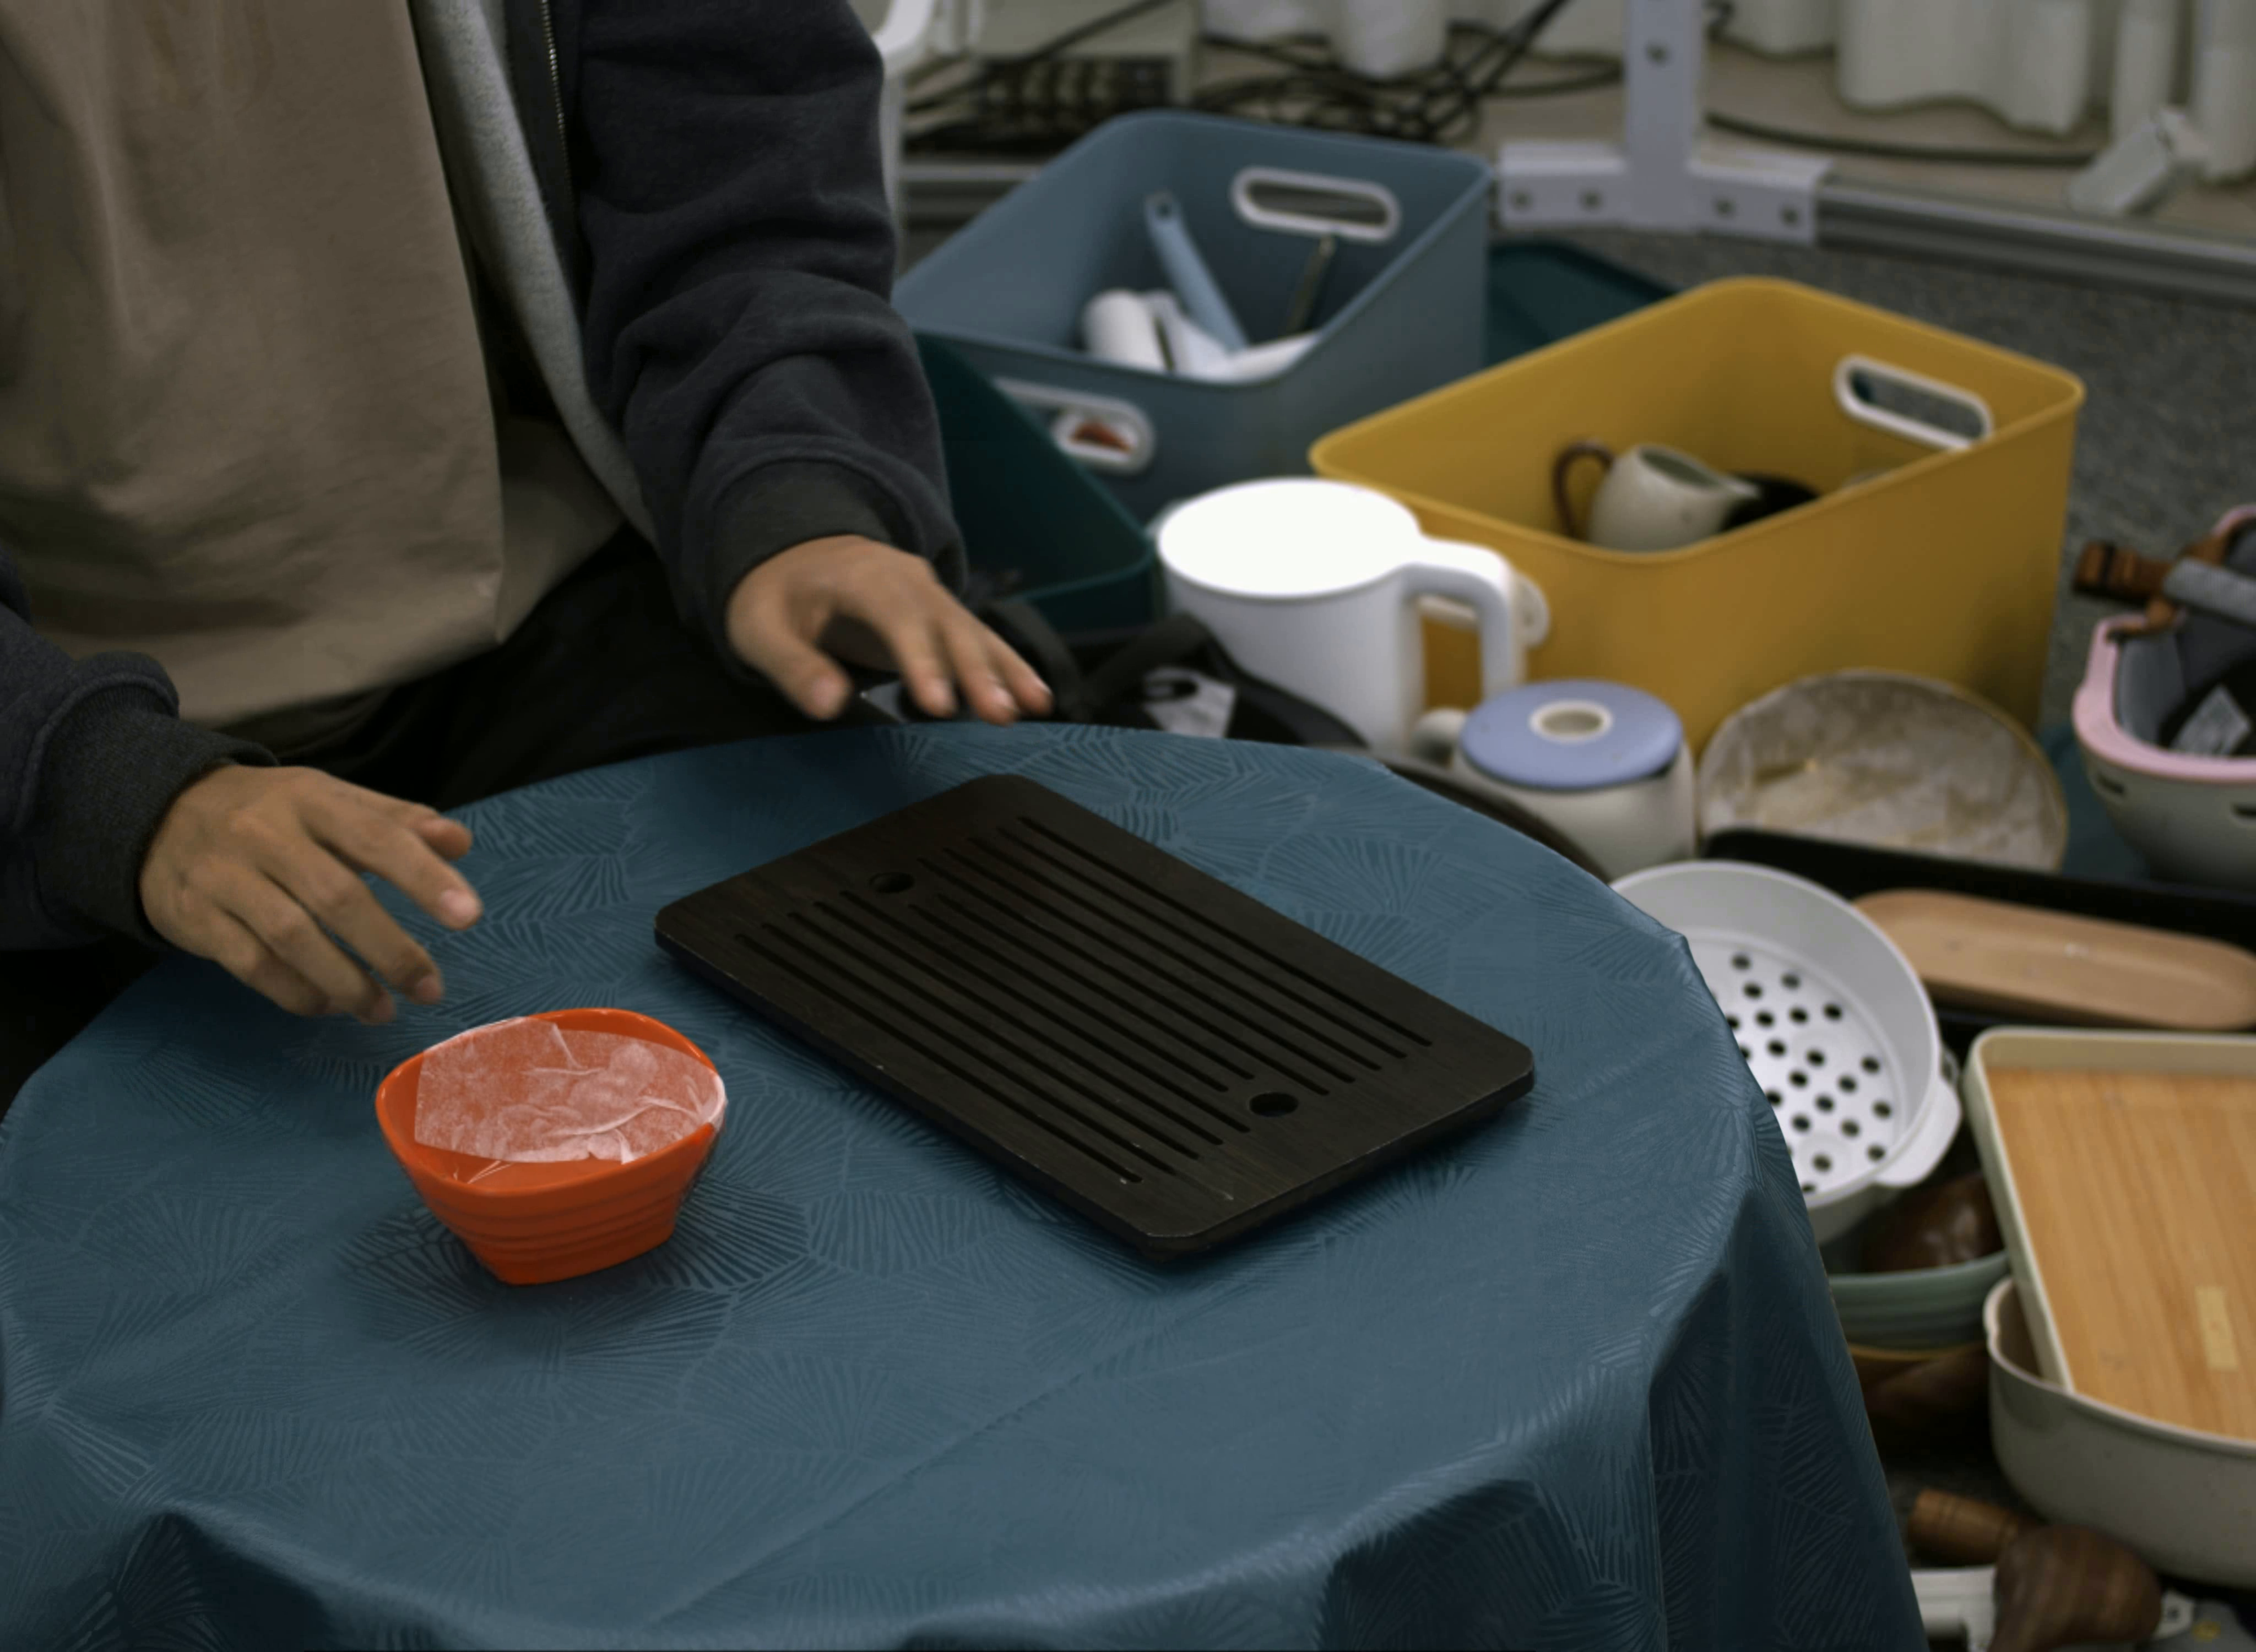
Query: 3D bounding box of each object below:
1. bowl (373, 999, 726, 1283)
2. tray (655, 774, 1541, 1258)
[{"bbox_3d":[-0.188,0.108,1.847,0.118,0.051,0.121,-2,29,2],"label":"bowl"},{"bbox_3d":[-0.015,0.063,1.958,0.172,0.018,0.306,-22,33,-33],"label":"tray"}]
